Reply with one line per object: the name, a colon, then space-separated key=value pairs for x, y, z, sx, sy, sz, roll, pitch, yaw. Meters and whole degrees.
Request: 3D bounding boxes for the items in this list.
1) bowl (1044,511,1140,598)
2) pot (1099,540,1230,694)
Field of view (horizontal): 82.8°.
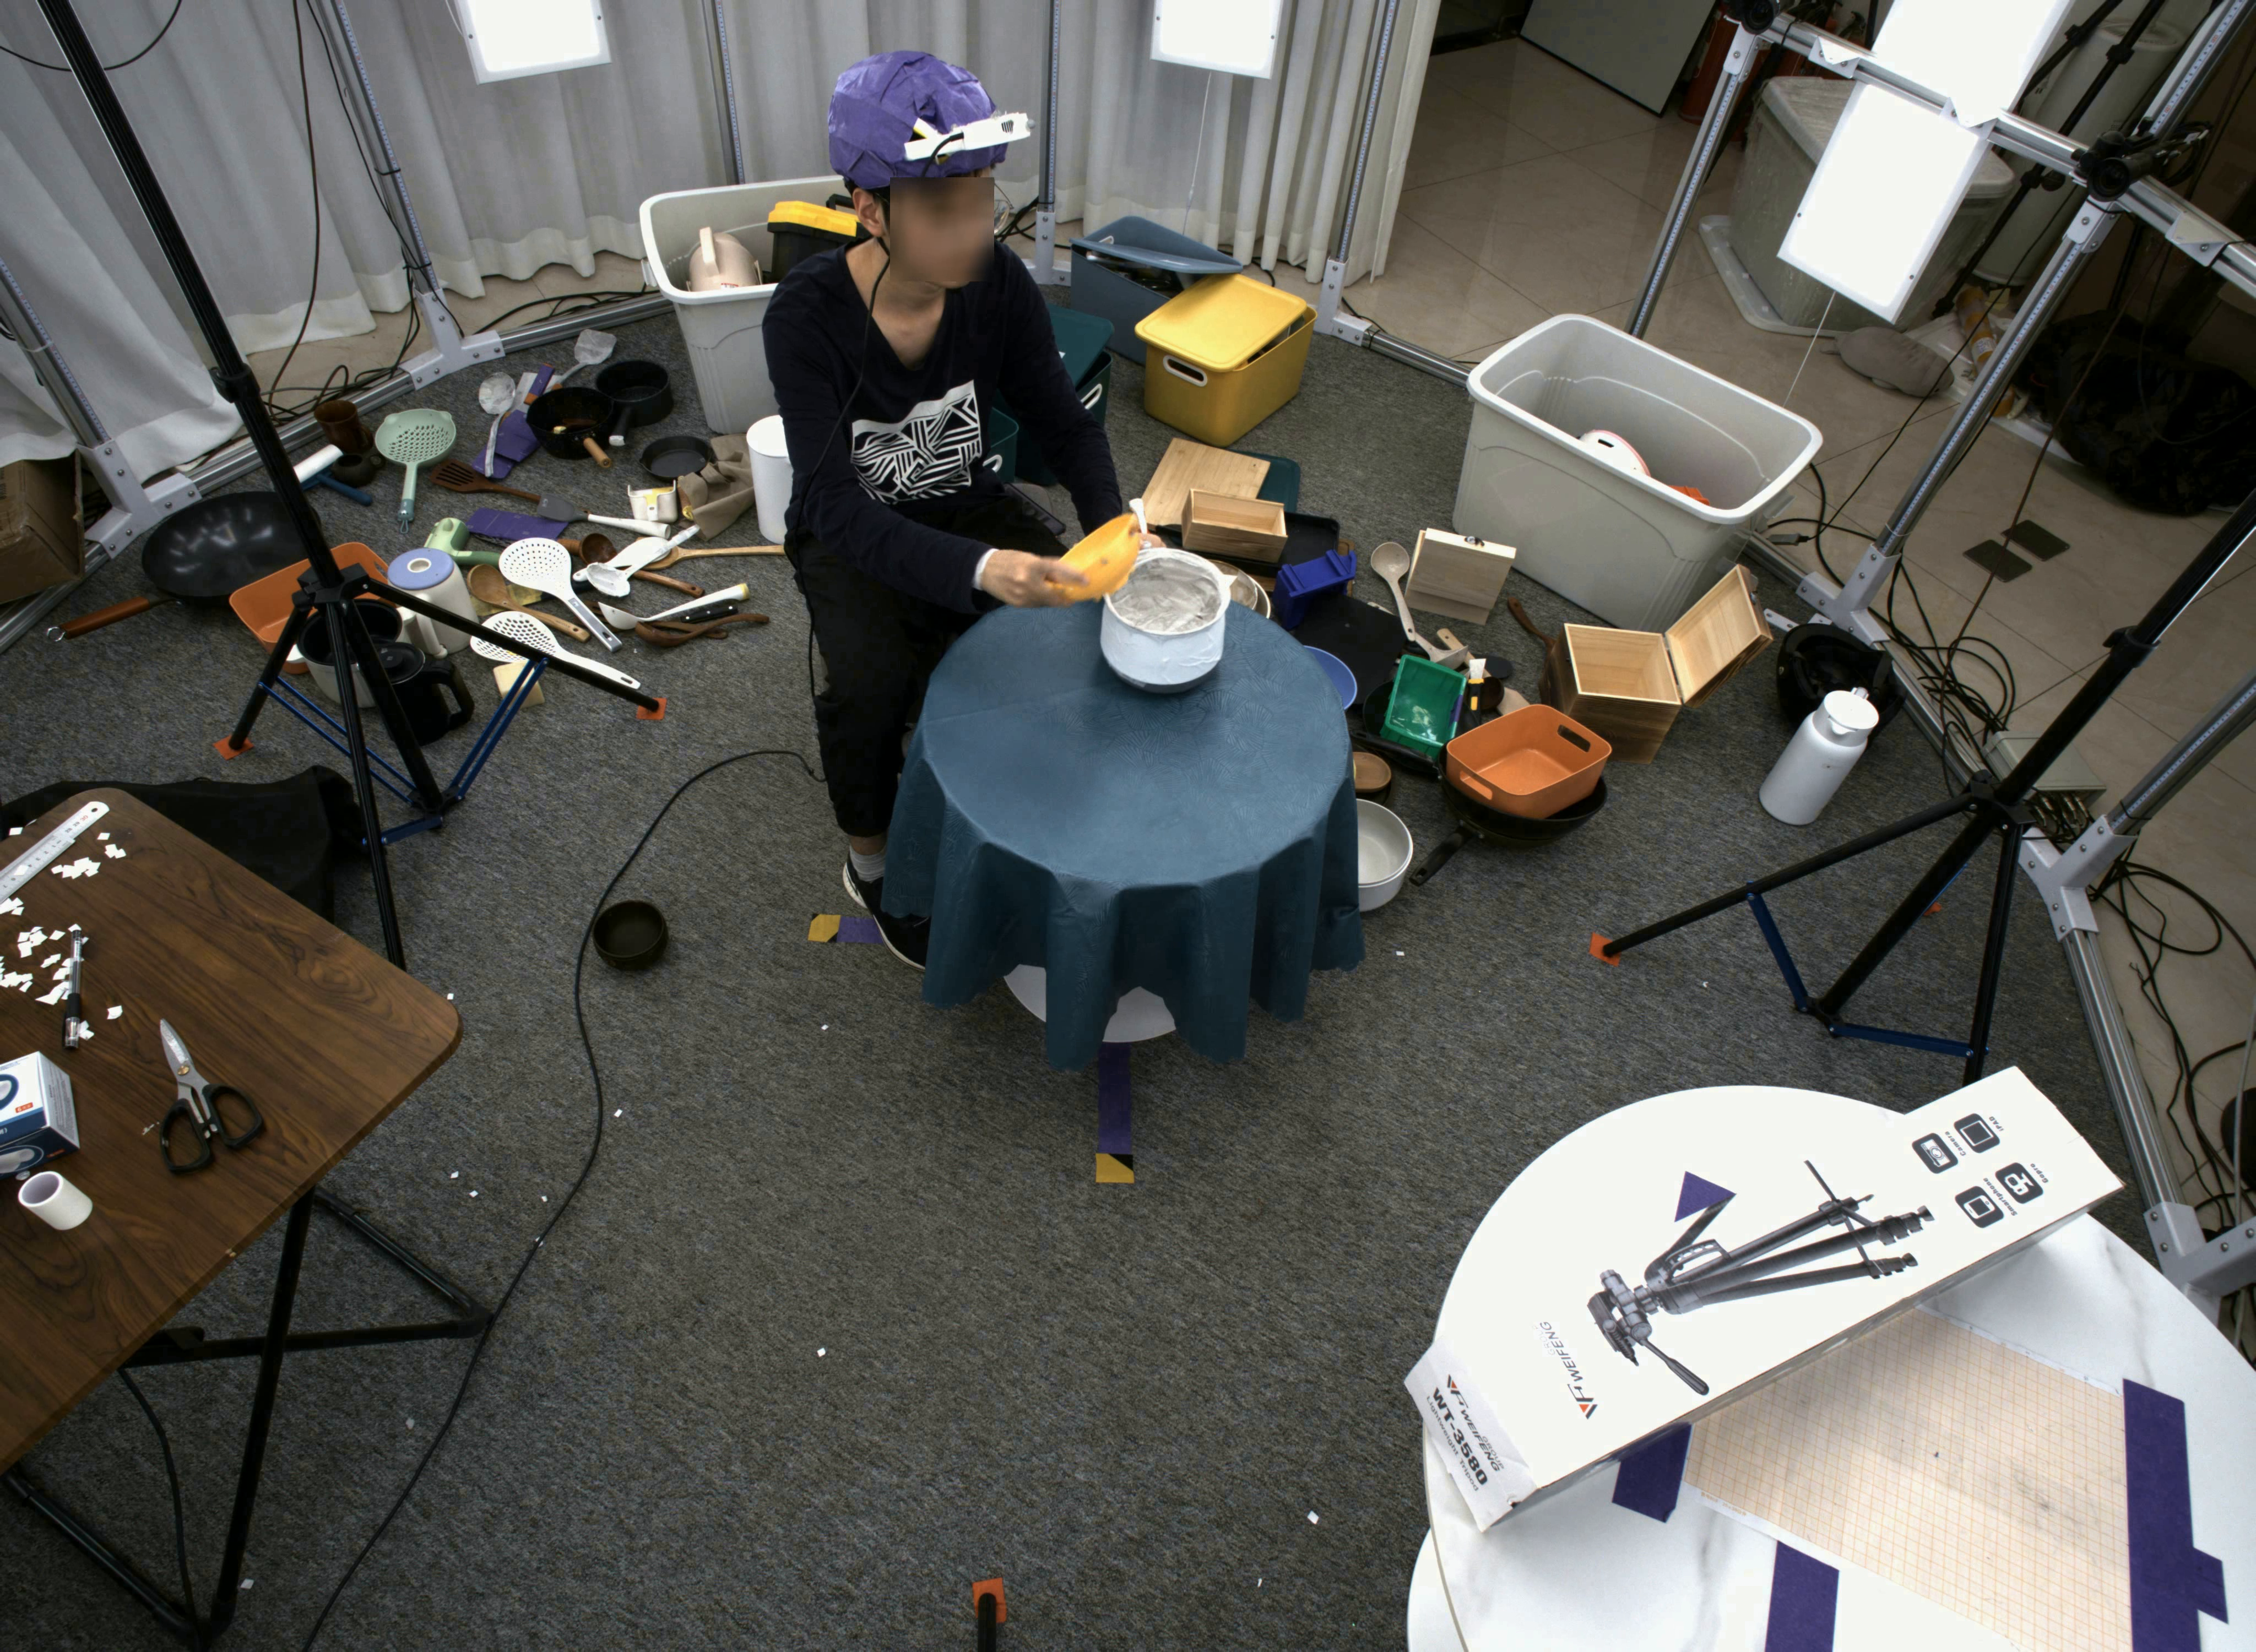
bowl: x=-0.034 y=-0.339 z=1.665 sx=0.059 sy=0.145 sz=0.148 roll=51 pitch=51 yaw=-19
pot: x=0.040 y=-0.308 z=1.840 sx=0.178 sy=0.133 sz=0.239 roll=-11 pitch=53 yaw=-14
